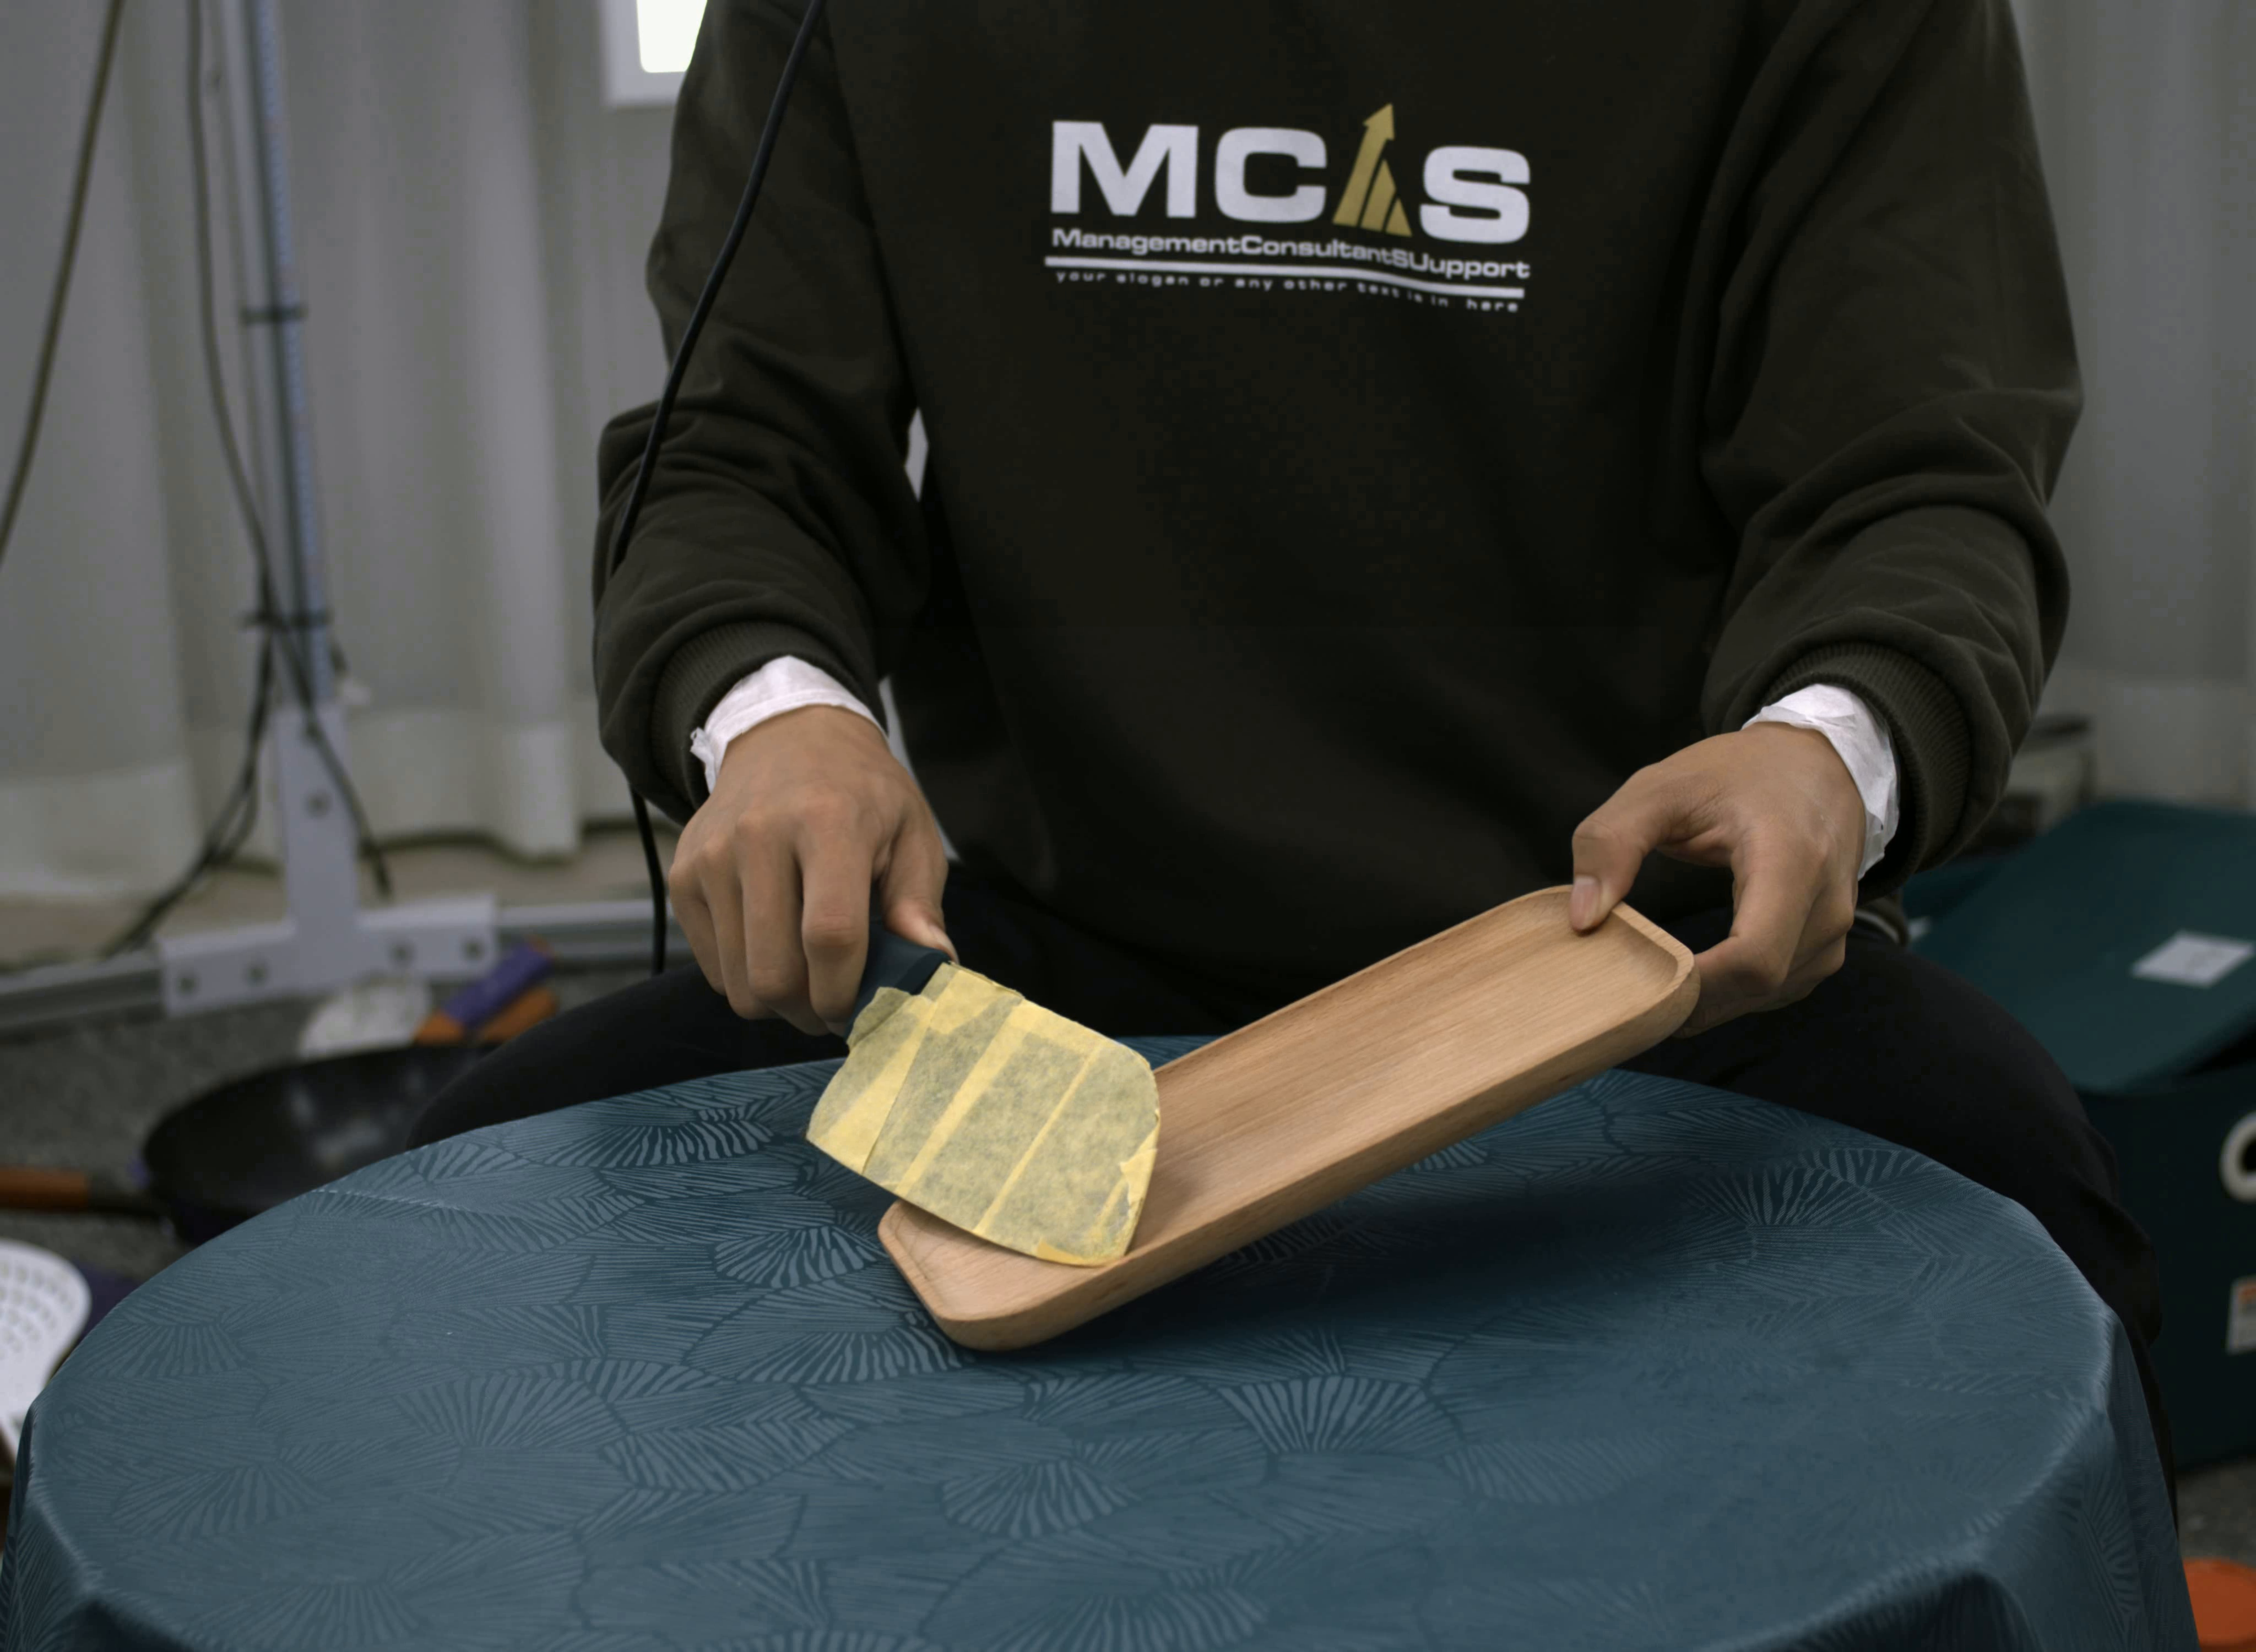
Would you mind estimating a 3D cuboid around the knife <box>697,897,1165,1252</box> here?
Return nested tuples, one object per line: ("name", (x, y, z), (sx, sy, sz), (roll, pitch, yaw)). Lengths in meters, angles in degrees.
("knife", (-0.069, 0.074, 1.706), (0.081, 0.027, 0.292), (-52, 33, -8))

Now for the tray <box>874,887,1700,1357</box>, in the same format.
("tray", (0.047, 0.087, 1.636), (0.250, 0.023, 0.131), (-26, 17, -9))
